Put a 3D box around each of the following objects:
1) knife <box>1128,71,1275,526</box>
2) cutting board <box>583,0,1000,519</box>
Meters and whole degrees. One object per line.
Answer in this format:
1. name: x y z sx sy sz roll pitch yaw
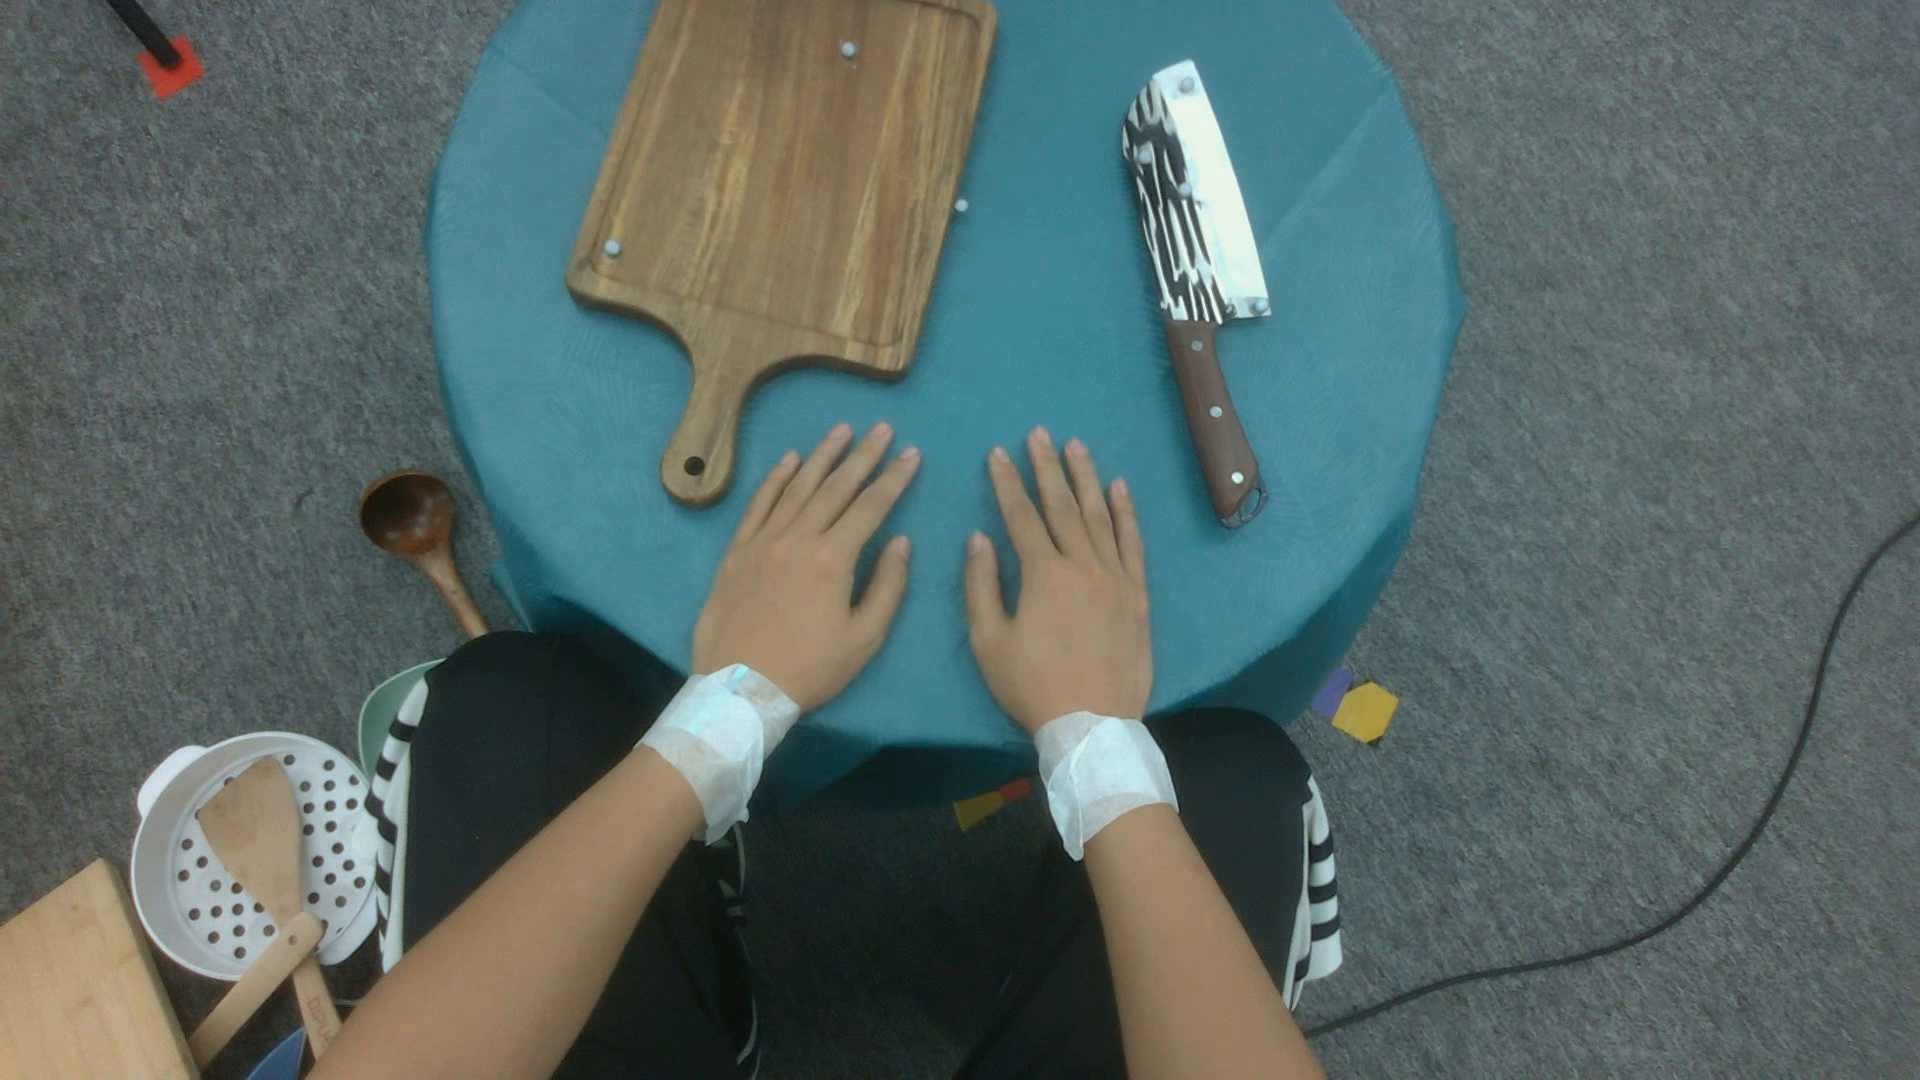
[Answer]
1. knife: 0.150 -0.152 0.818 0.068 0.024 0.300 -7 72 -9
2. cutting board: -0.105 -0.180 0.804 0.201 0.023 0.353 13 74 -1
